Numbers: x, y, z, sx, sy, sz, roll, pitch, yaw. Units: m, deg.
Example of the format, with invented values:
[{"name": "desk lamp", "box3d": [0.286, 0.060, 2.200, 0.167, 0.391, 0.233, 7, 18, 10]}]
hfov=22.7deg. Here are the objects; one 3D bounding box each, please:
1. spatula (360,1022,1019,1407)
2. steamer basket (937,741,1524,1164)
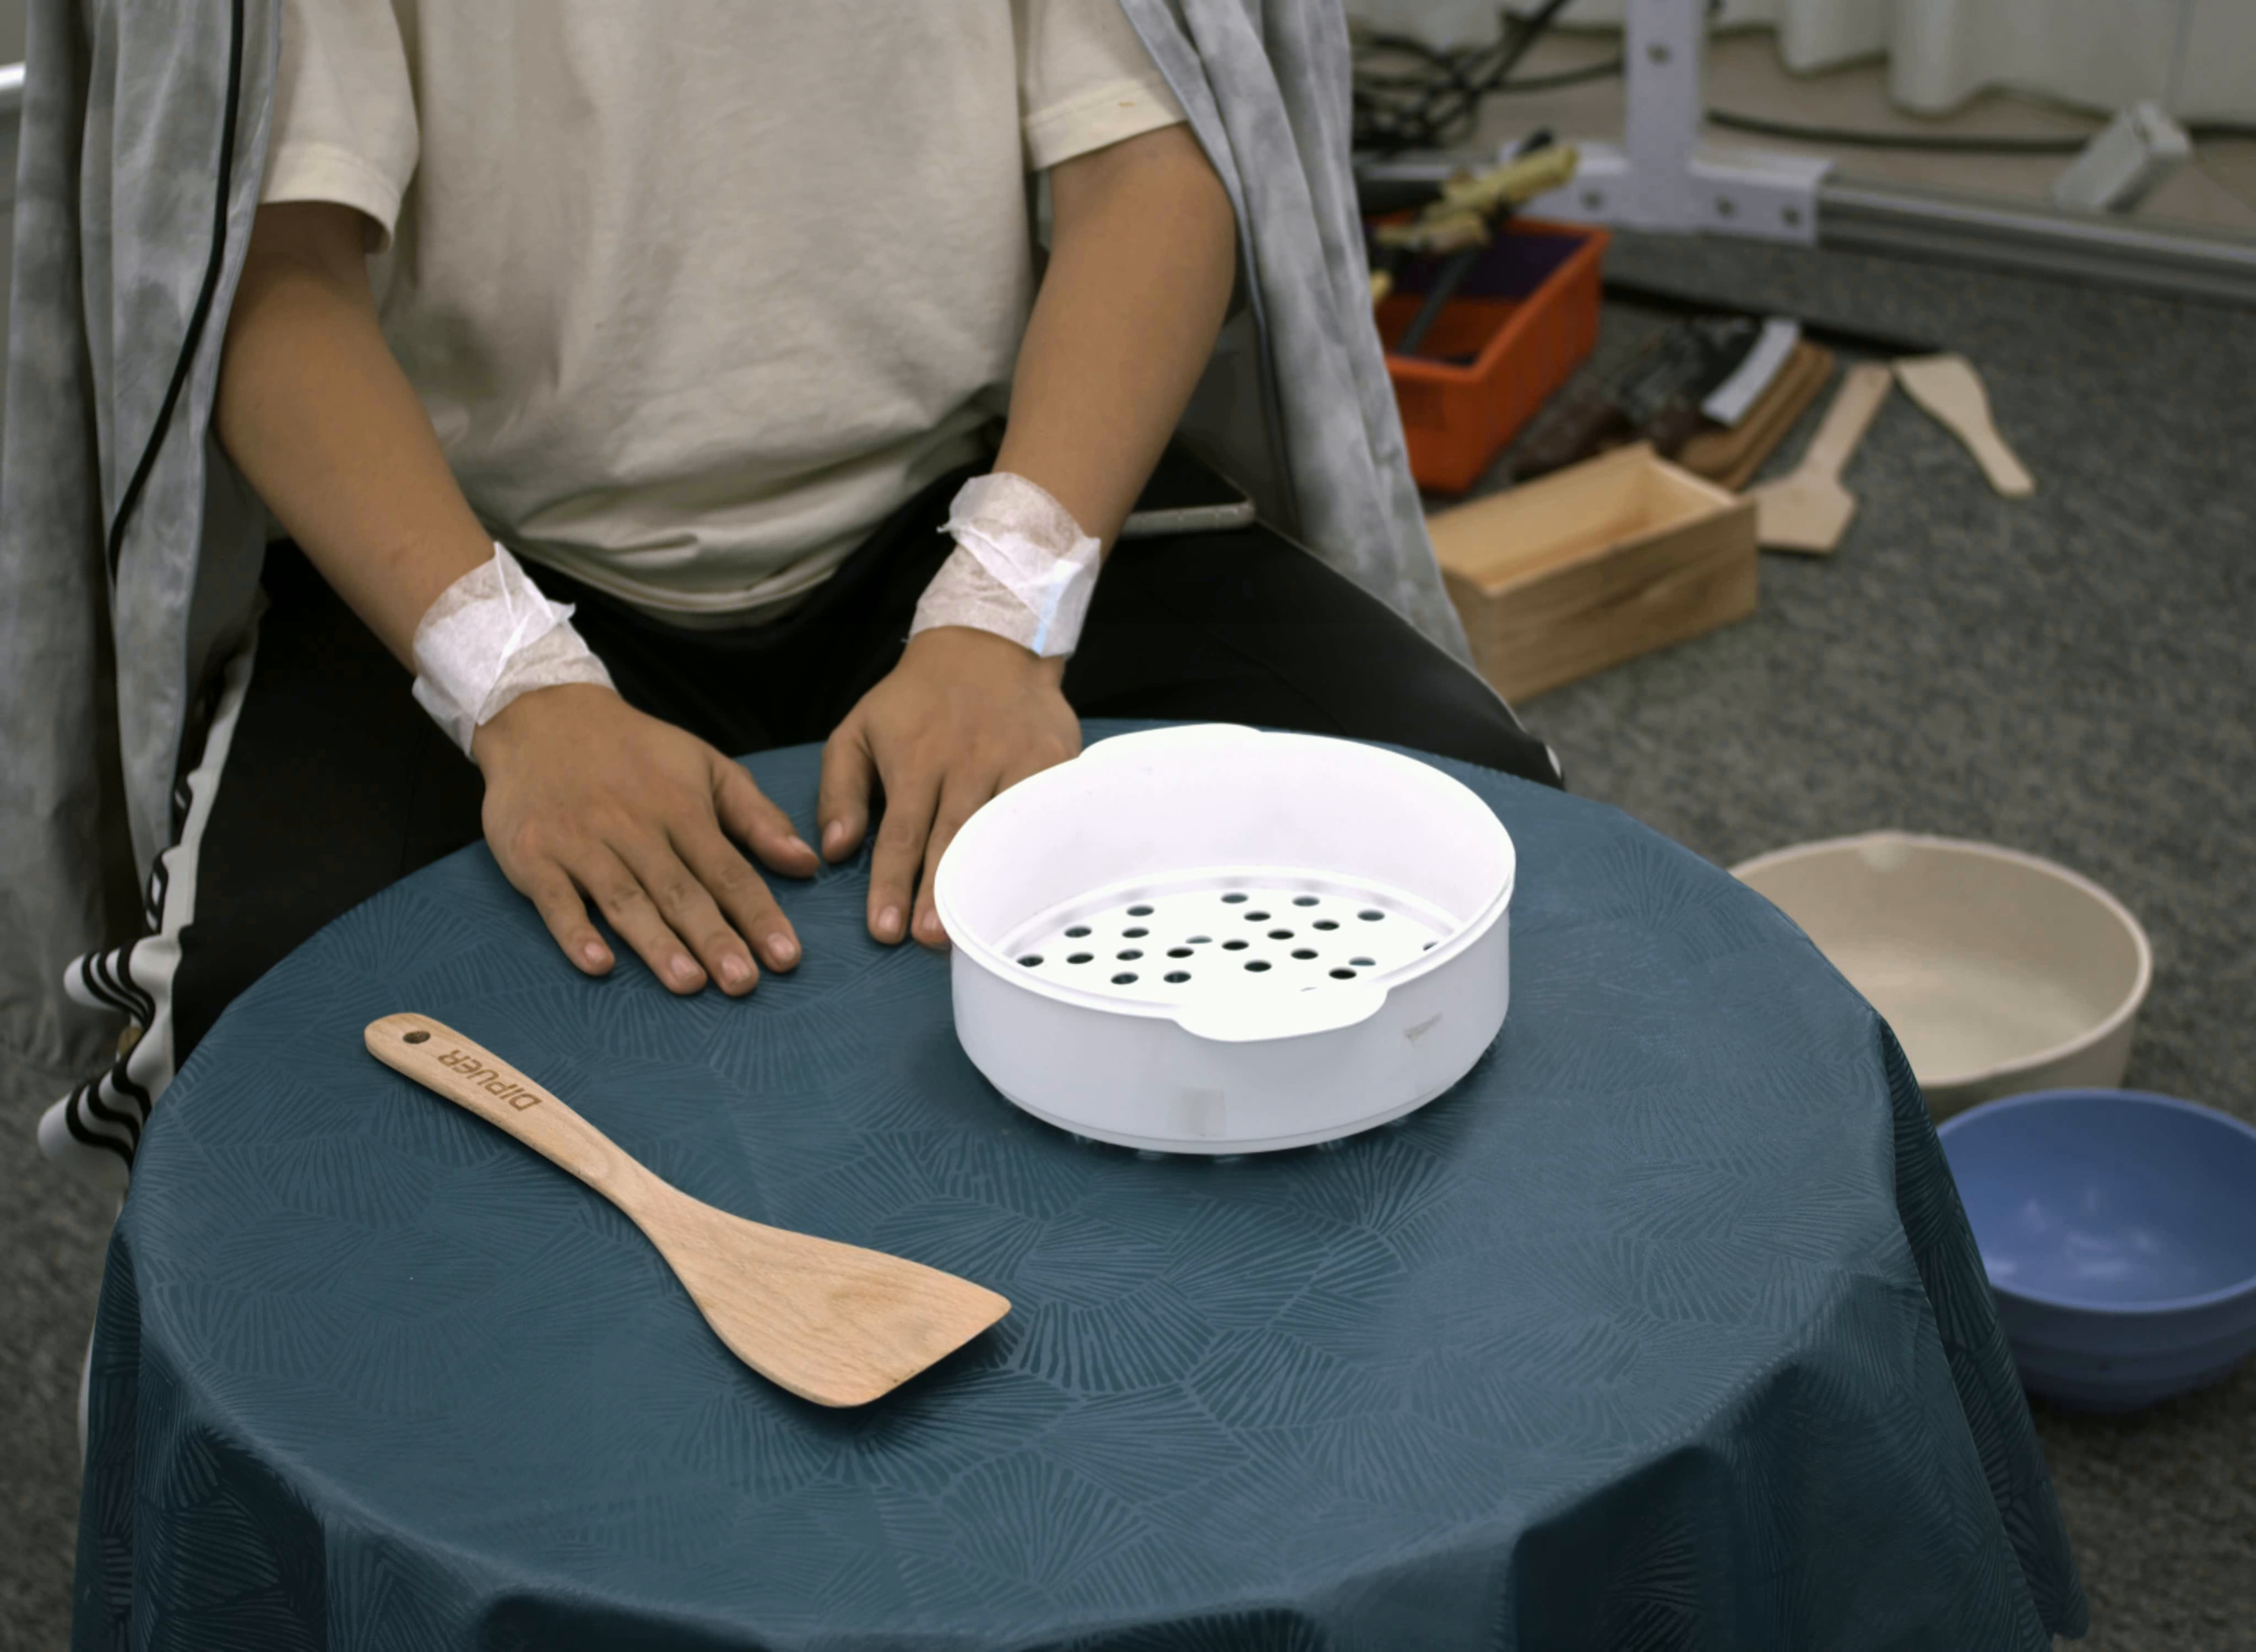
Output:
[{"name": "spatula", "box3d": [-0.158, 0.121, 1.858, 0.081, 0.016, 0.327, -22, 33, -34]}, {"name": "steamer basket", "box3d": [0.036, 0.045, 1.935, 0.201, 0.068, 0.233, -6, 26, -8]}]
